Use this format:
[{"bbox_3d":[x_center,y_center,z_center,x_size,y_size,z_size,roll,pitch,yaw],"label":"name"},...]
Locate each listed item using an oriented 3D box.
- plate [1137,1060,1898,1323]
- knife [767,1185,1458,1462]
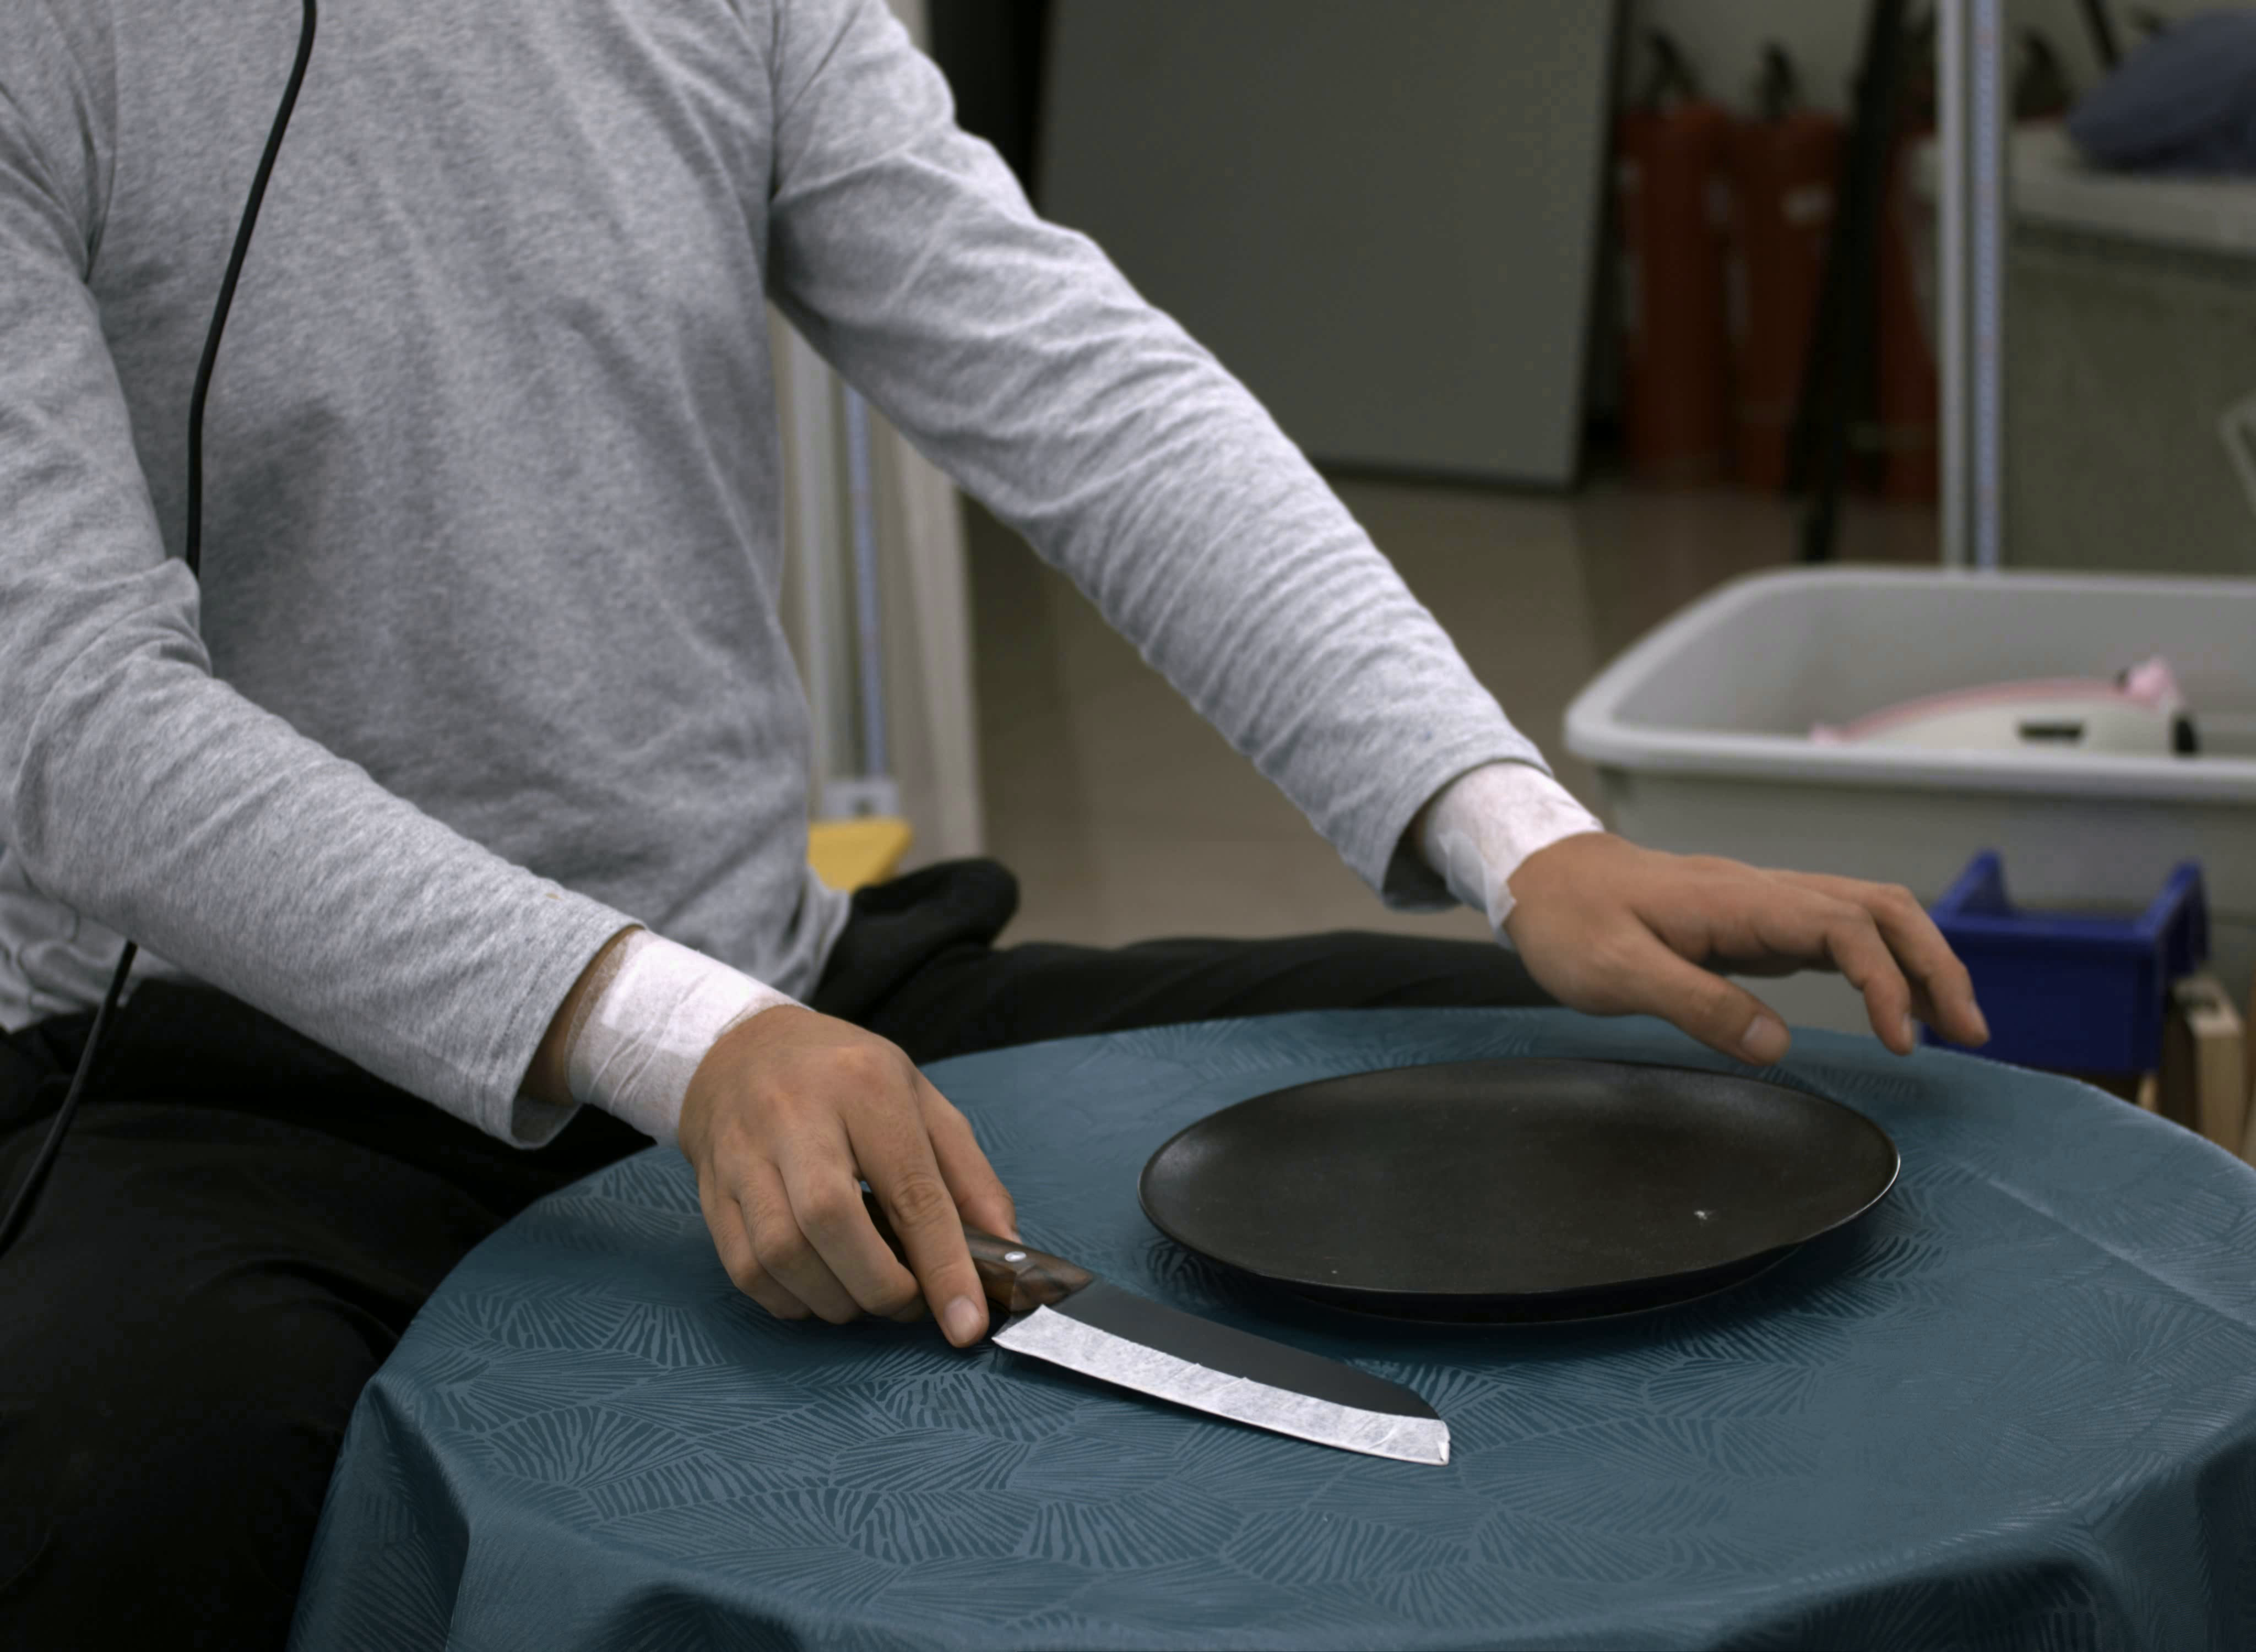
[{"bbox_3d":[0.123,0.118,1.704,0.241,0.024,0.245,-4,13,0],"label":"plate"},{"bbox_3d":[-0.009,0.150,1.612,0.049,0.020,0.292,-29,30,-37],"label":"knife"}]
